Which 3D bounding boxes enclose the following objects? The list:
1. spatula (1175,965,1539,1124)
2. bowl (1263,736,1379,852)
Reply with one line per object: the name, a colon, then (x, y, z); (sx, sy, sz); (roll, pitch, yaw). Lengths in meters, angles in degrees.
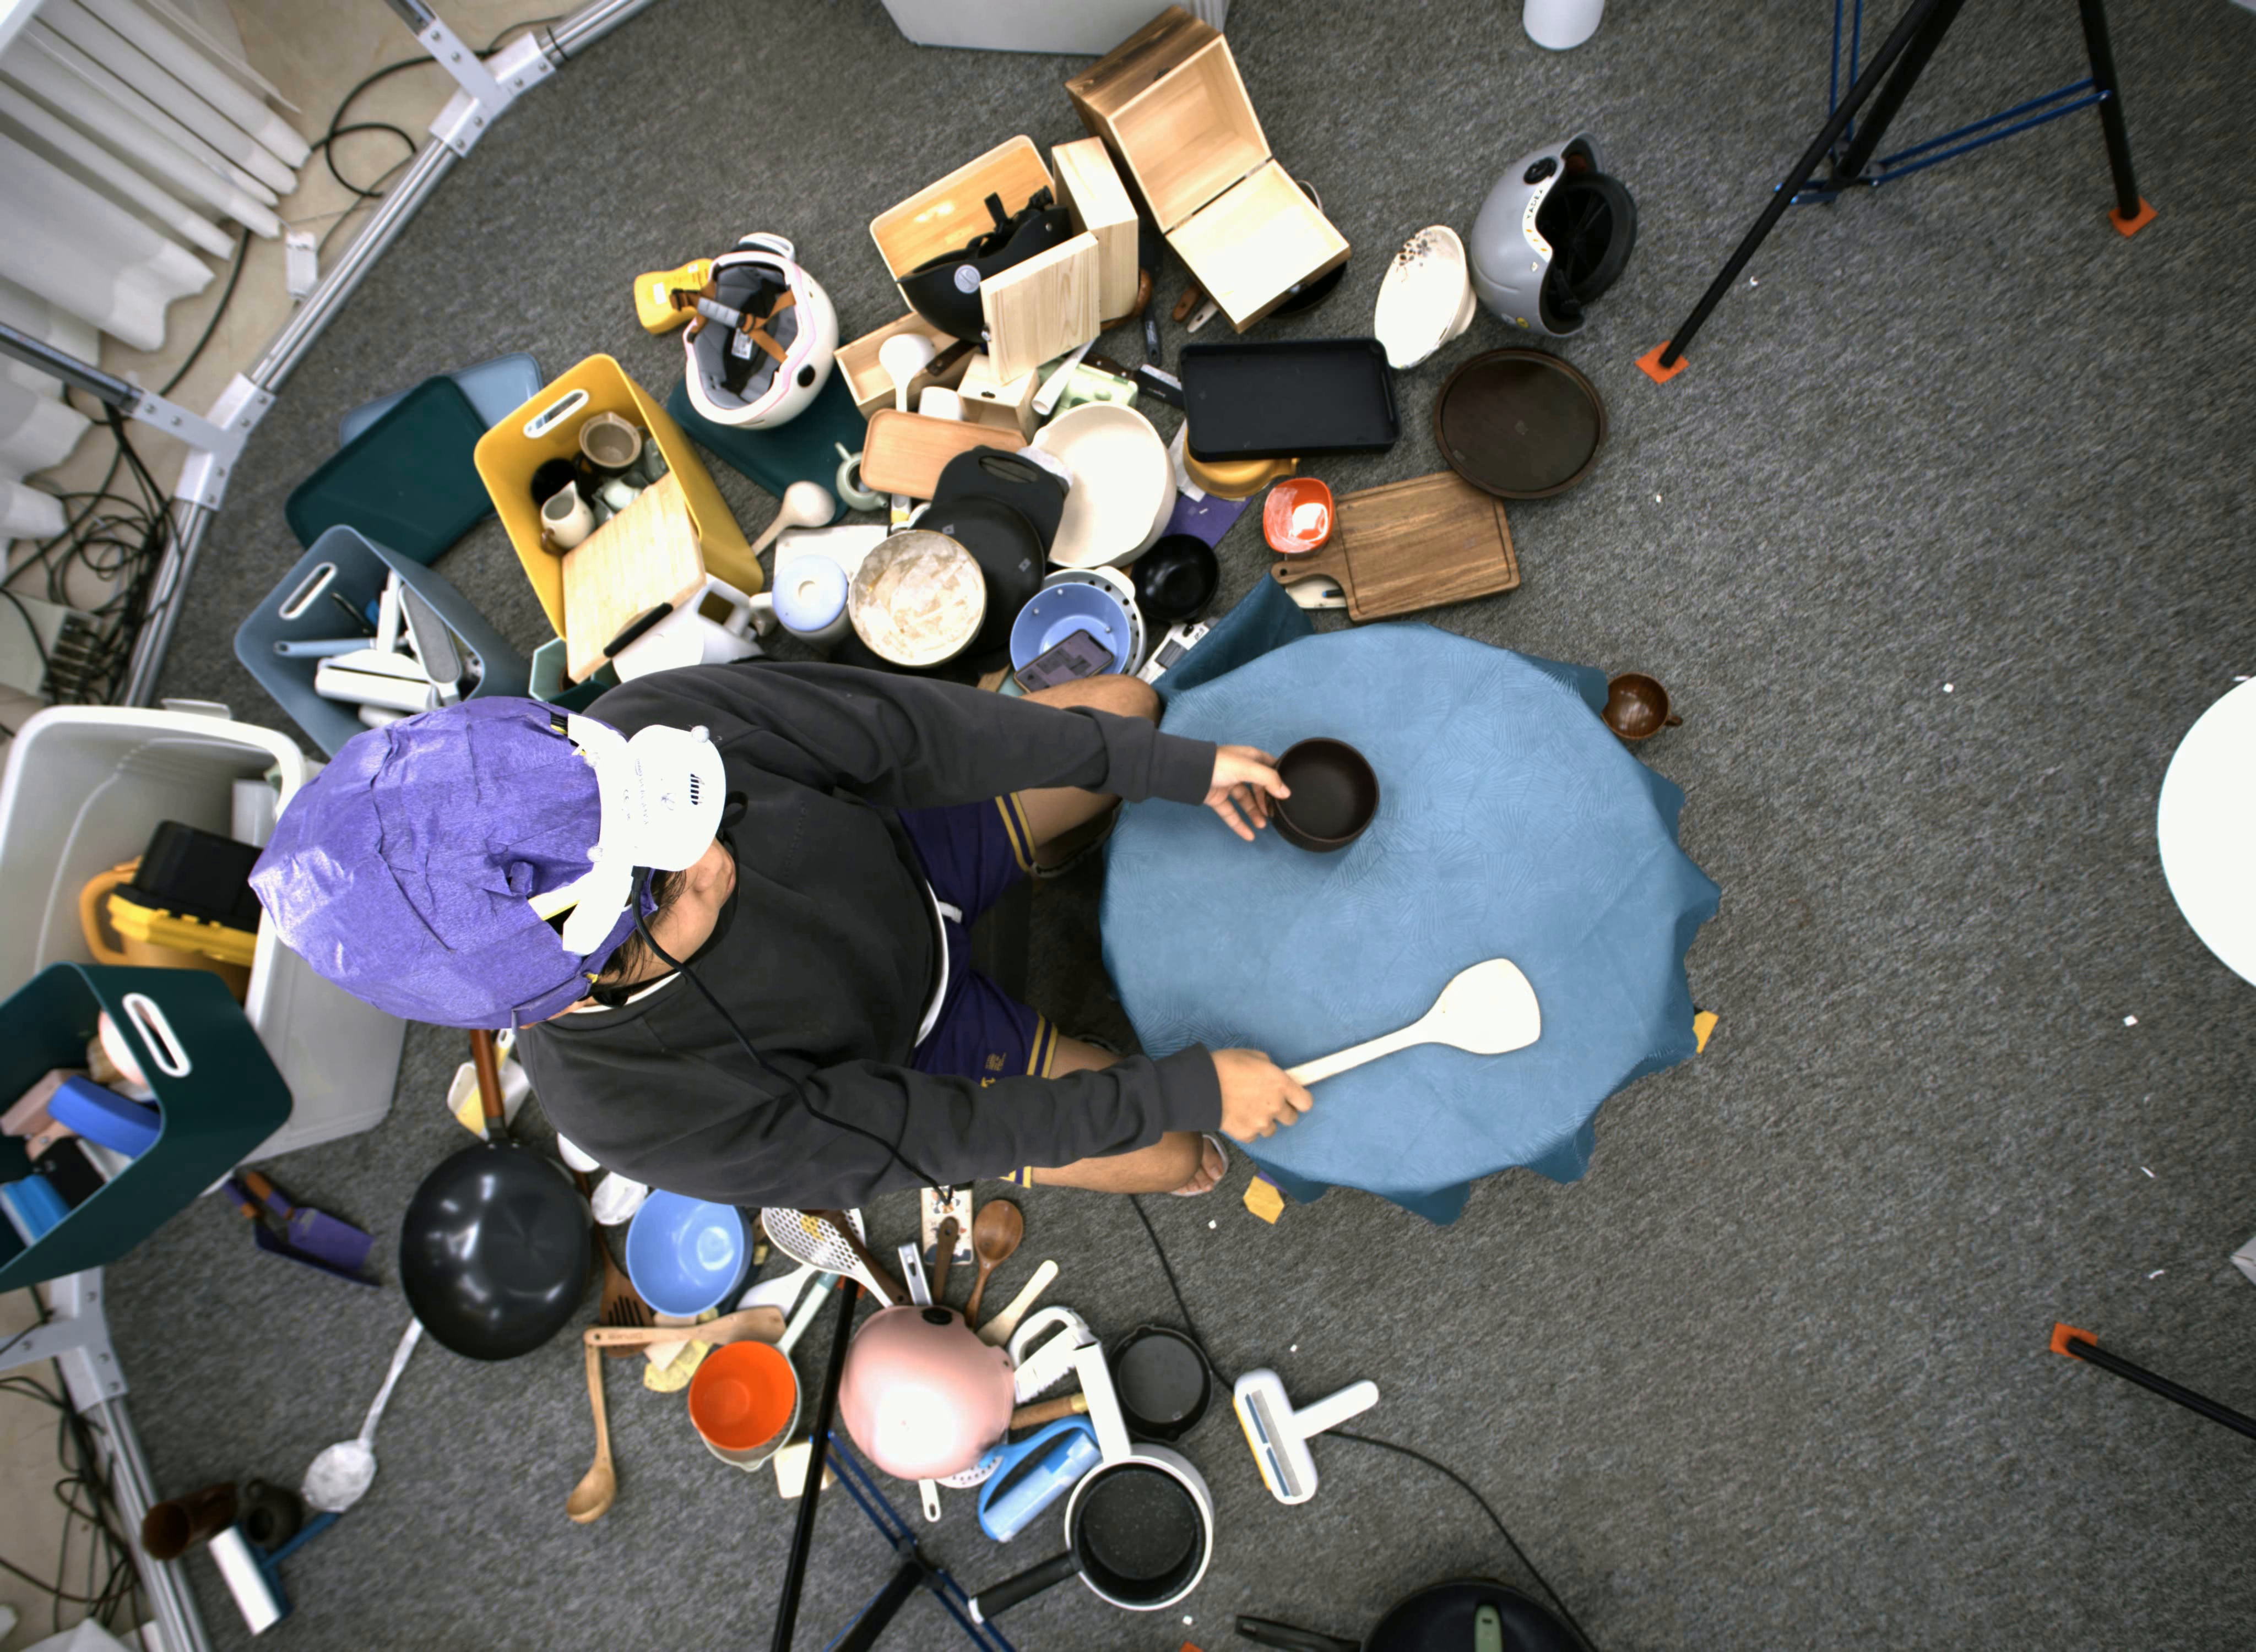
spatula: (0.235, 0.244, 1.443); (0.392, 0.018, 0.095); (-20, 82, 6)
bowl: (0.196, -0.028, 1.435); (0.118, 0.071, 0.116); (2, 73, -5)
